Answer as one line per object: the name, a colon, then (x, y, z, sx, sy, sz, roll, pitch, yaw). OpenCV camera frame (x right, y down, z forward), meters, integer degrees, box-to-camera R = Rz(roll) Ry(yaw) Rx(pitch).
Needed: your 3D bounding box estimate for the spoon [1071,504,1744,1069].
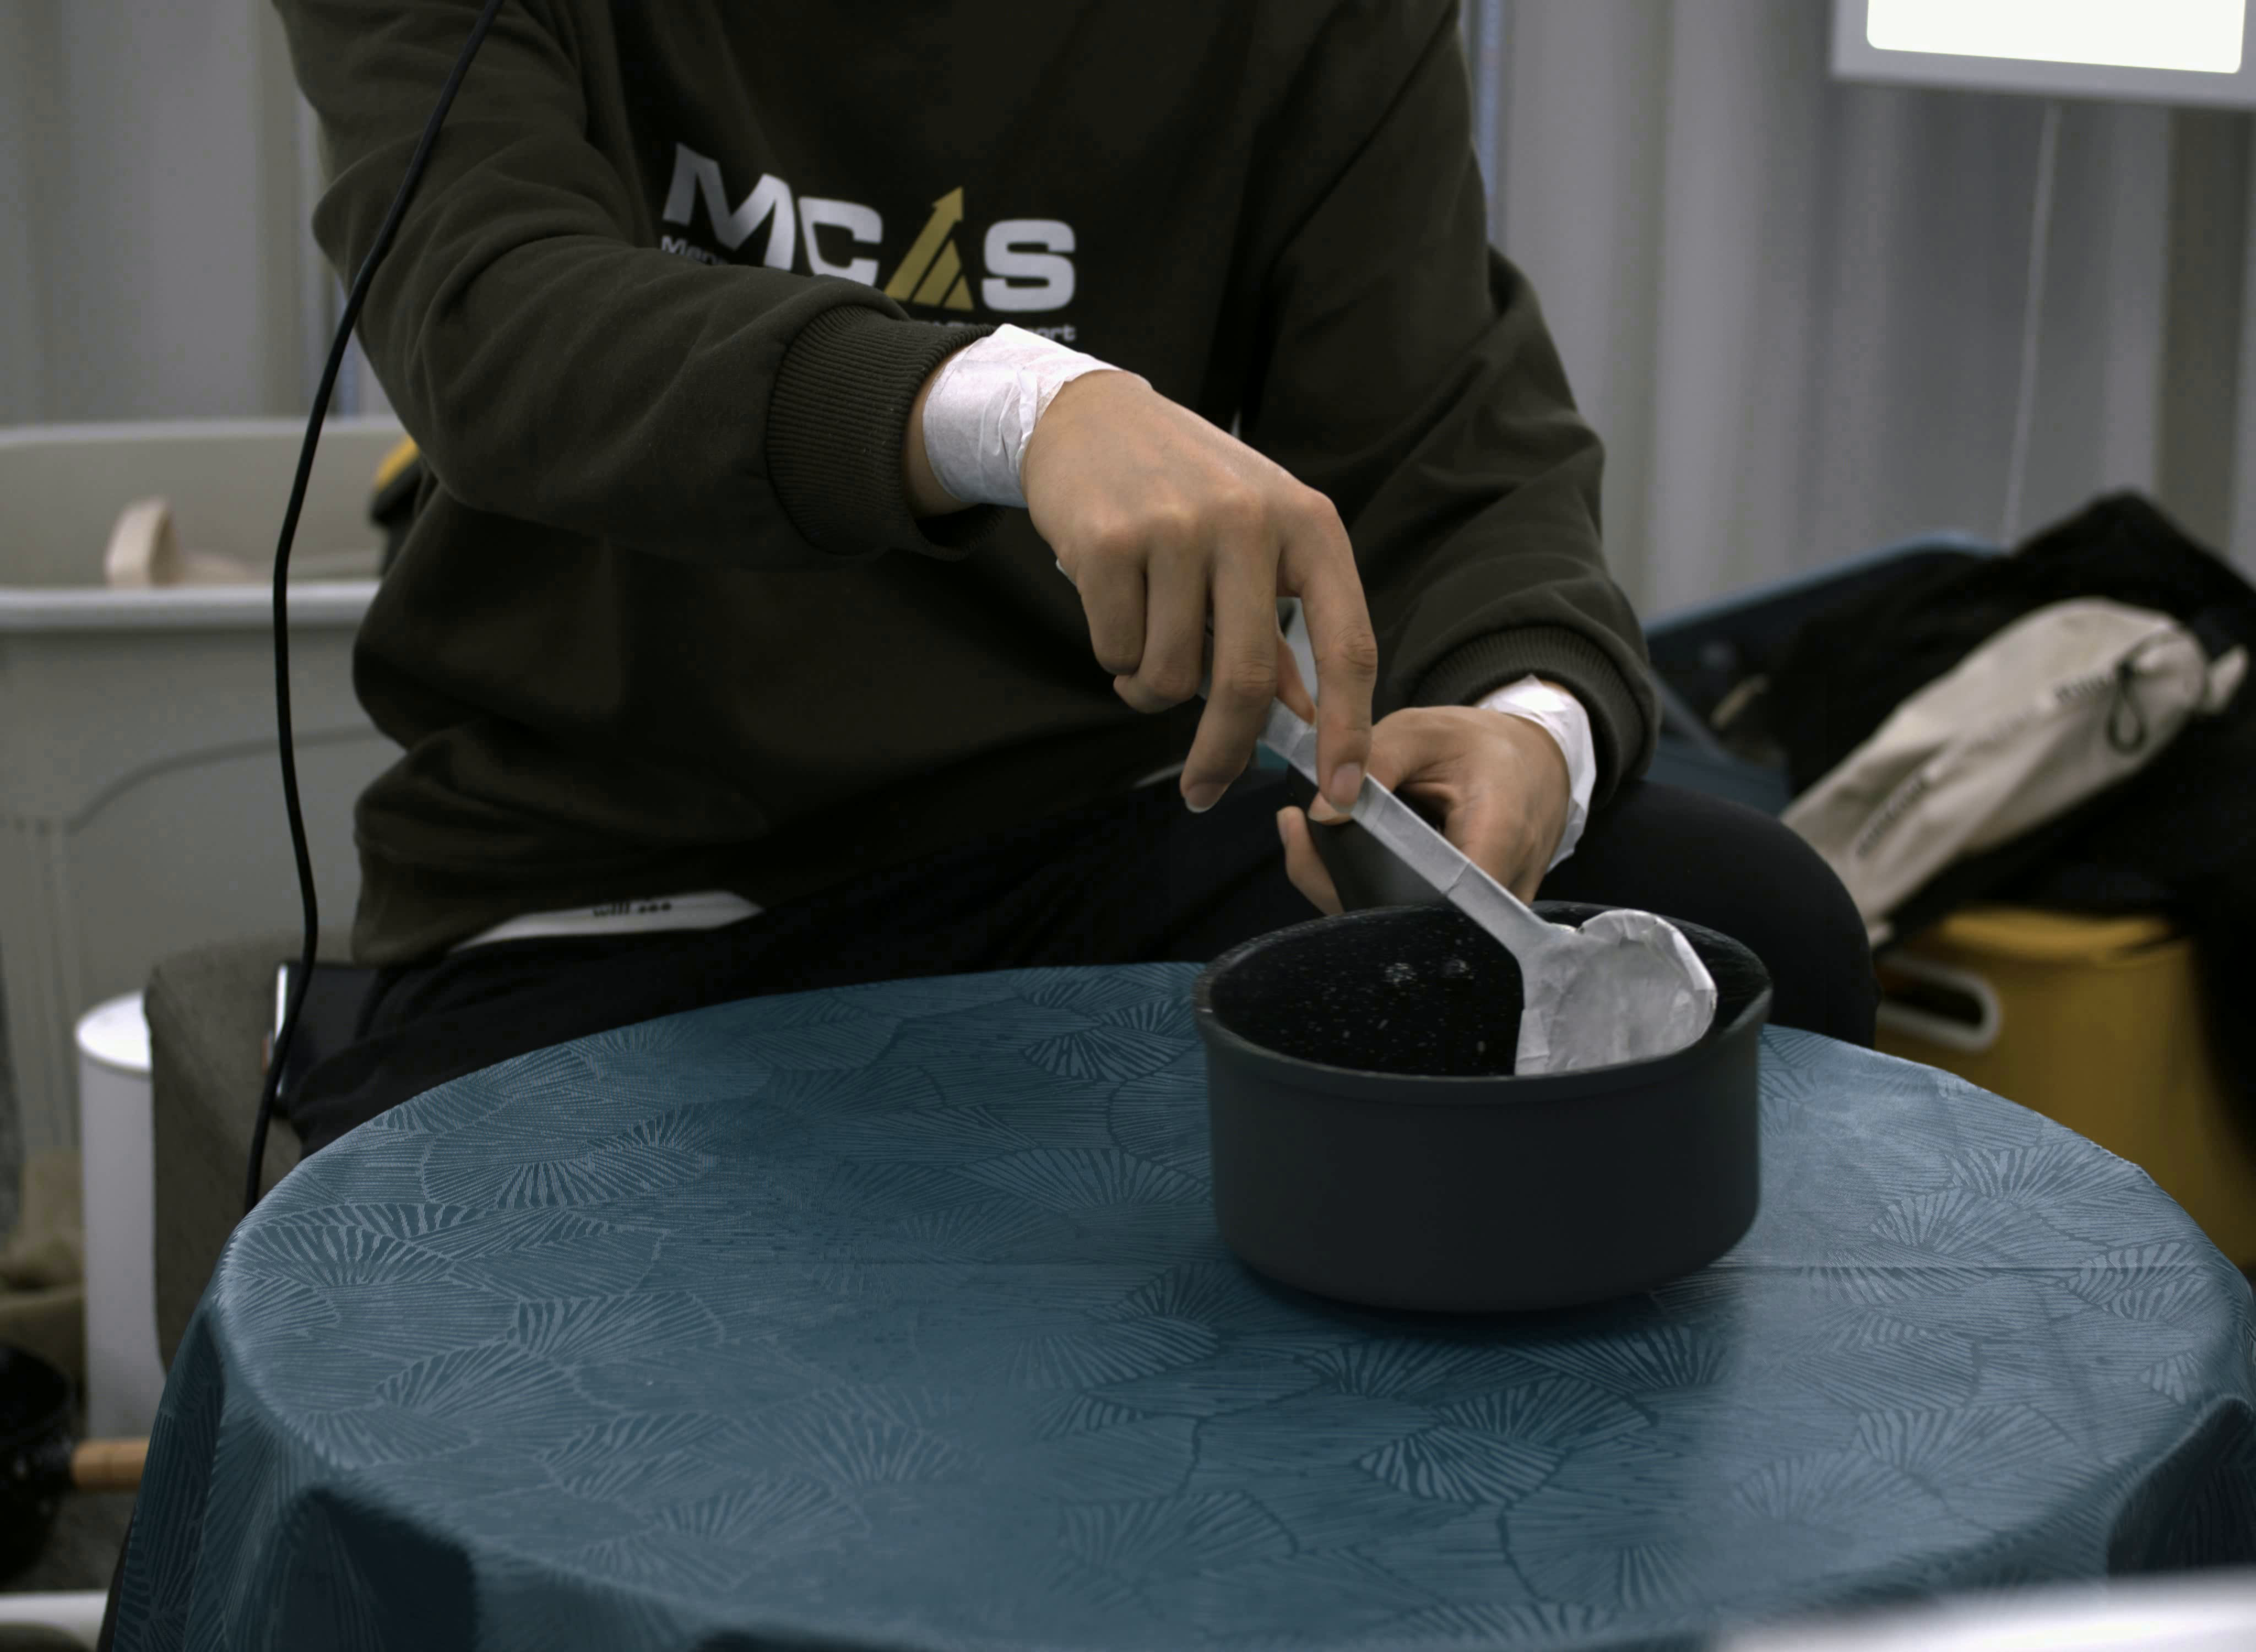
spoon: (0.077, -0.005, 1.579, 0.276, 0.101, 0.059, 42, 23, 9)

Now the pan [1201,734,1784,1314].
pan: (0.100, 0.057, 1.632, 0.172, 0.087, 0.326, -3, 17, -5)
